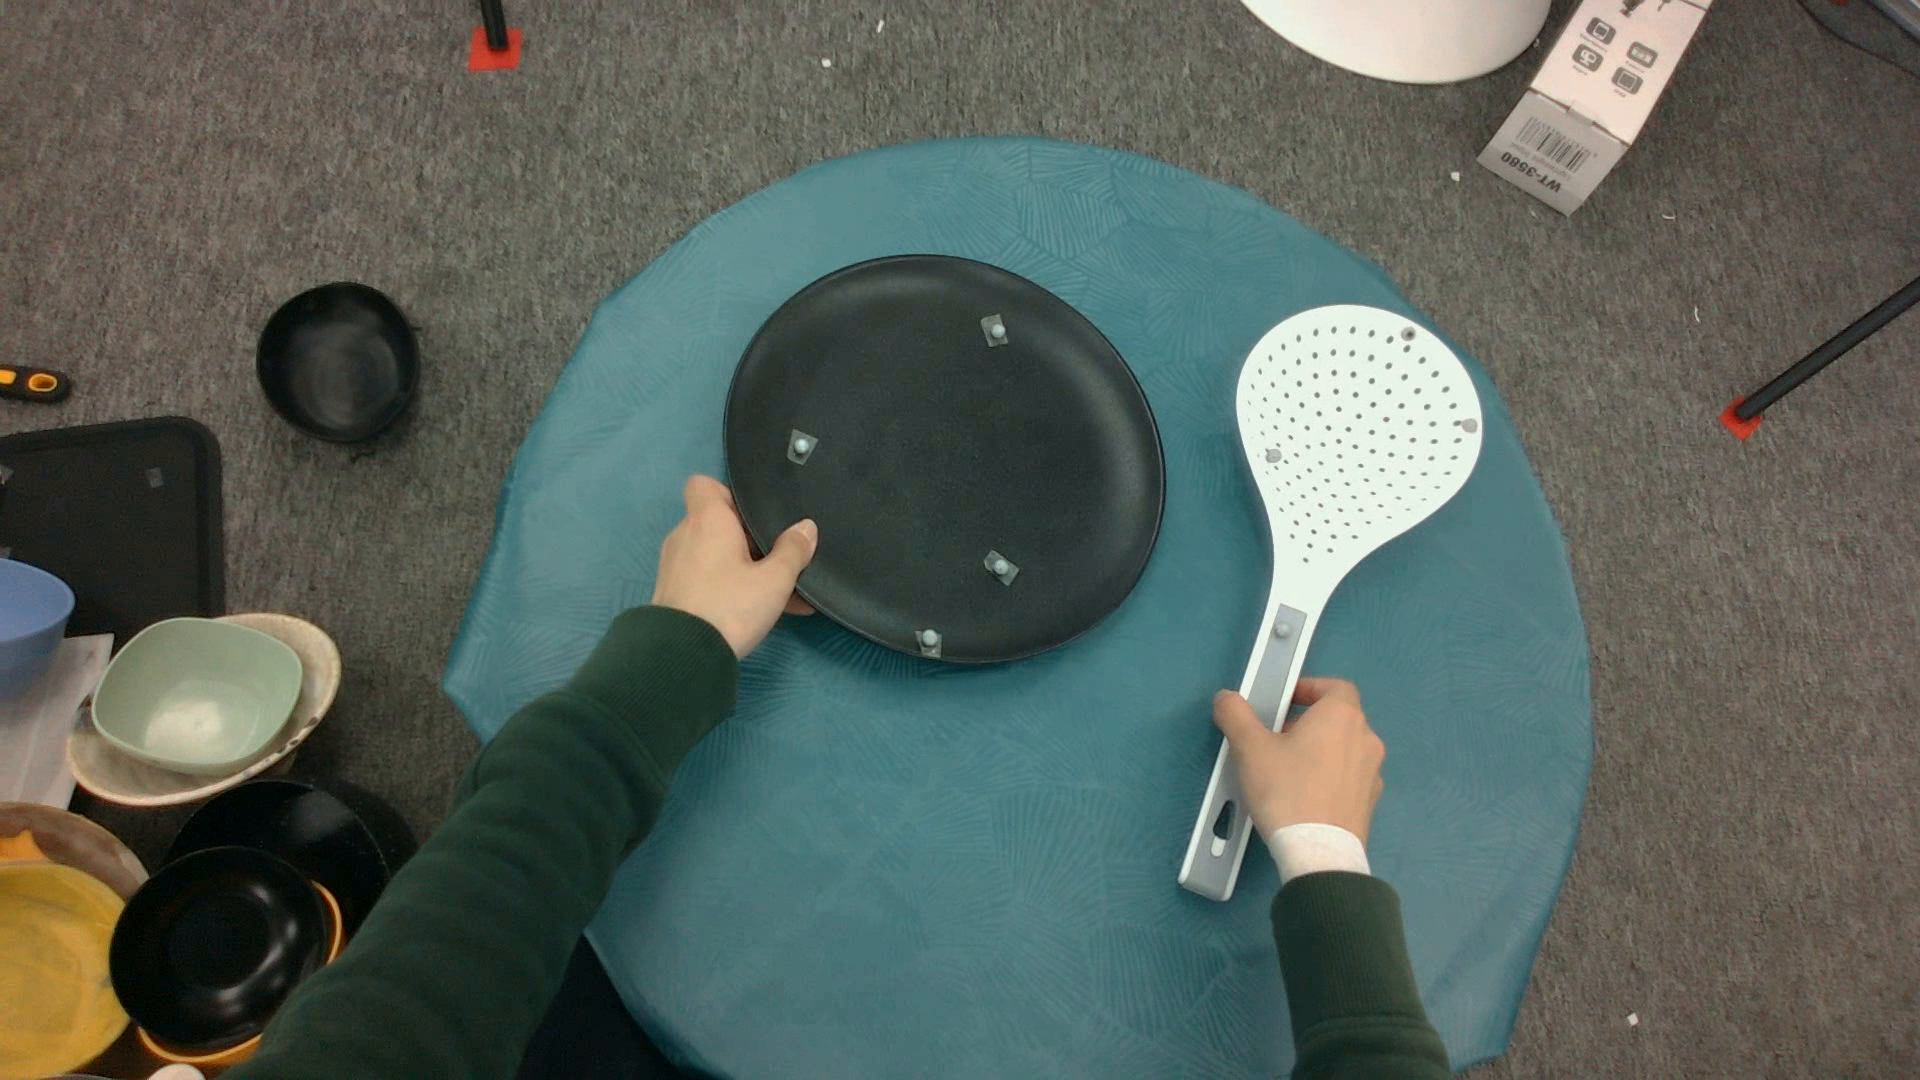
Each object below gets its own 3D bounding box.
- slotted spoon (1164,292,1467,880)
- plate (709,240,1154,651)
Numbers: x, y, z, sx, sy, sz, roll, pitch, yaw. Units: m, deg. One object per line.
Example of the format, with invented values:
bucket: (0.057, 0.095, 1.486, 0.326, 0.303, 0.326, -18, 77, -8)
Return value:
slotted spoon: (0.177, 0.014, 0.740, 0.136, 0.045, 0.351, 21, 64, 6)
plate: (-0.013, -0.053, 0.738, 0.244, 0.023, 0.245, 7, 65, -14)
